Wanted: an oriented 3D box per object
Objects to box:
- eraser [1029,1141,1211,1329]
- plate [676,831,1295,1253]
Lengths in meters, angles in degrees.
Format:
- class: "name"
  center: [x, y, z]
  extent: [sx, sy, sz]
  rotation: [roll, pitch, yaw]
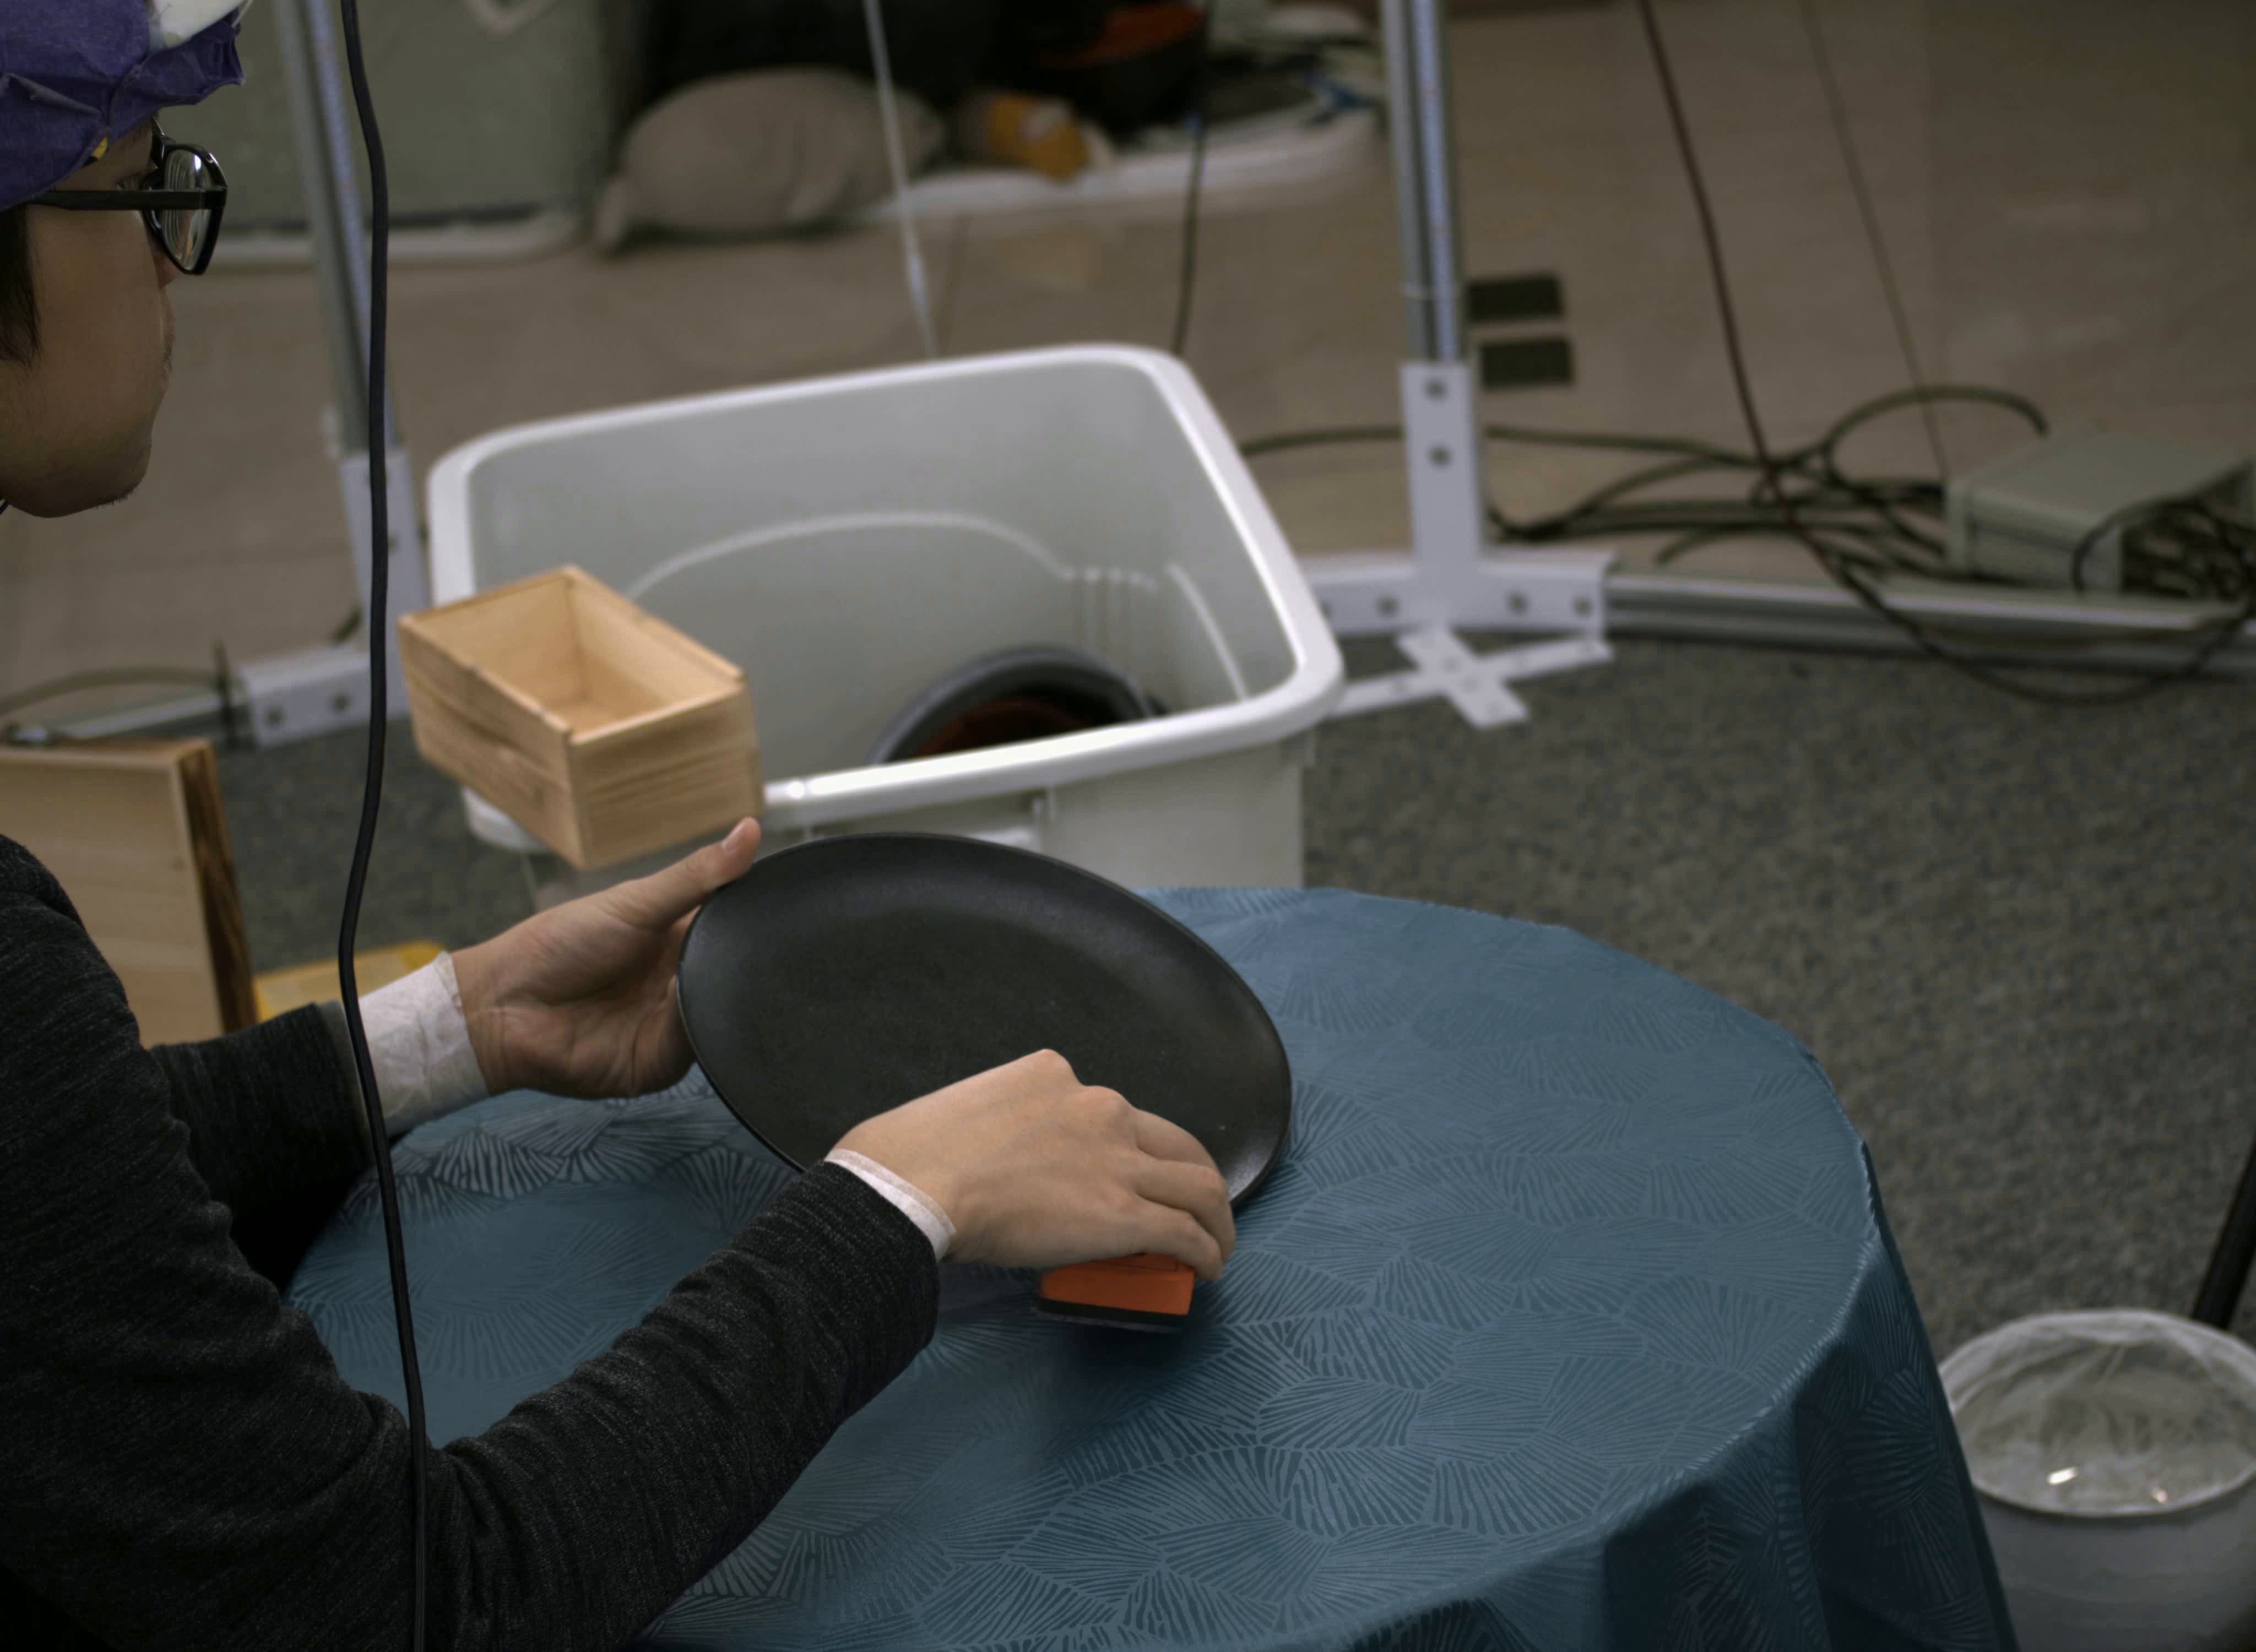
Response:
- class: "eraser"
  center: [-0.002, 0.148, 2.064]
  extent: [0.059, 0.023, 0.106]
  rotation: [6, 22, 4]
- class: "plate"
  center: [-0.055, 0.086, 2.165]
  extent: [0.244, 0.024, 0.240]
  rotation: [12, 37, -9]
